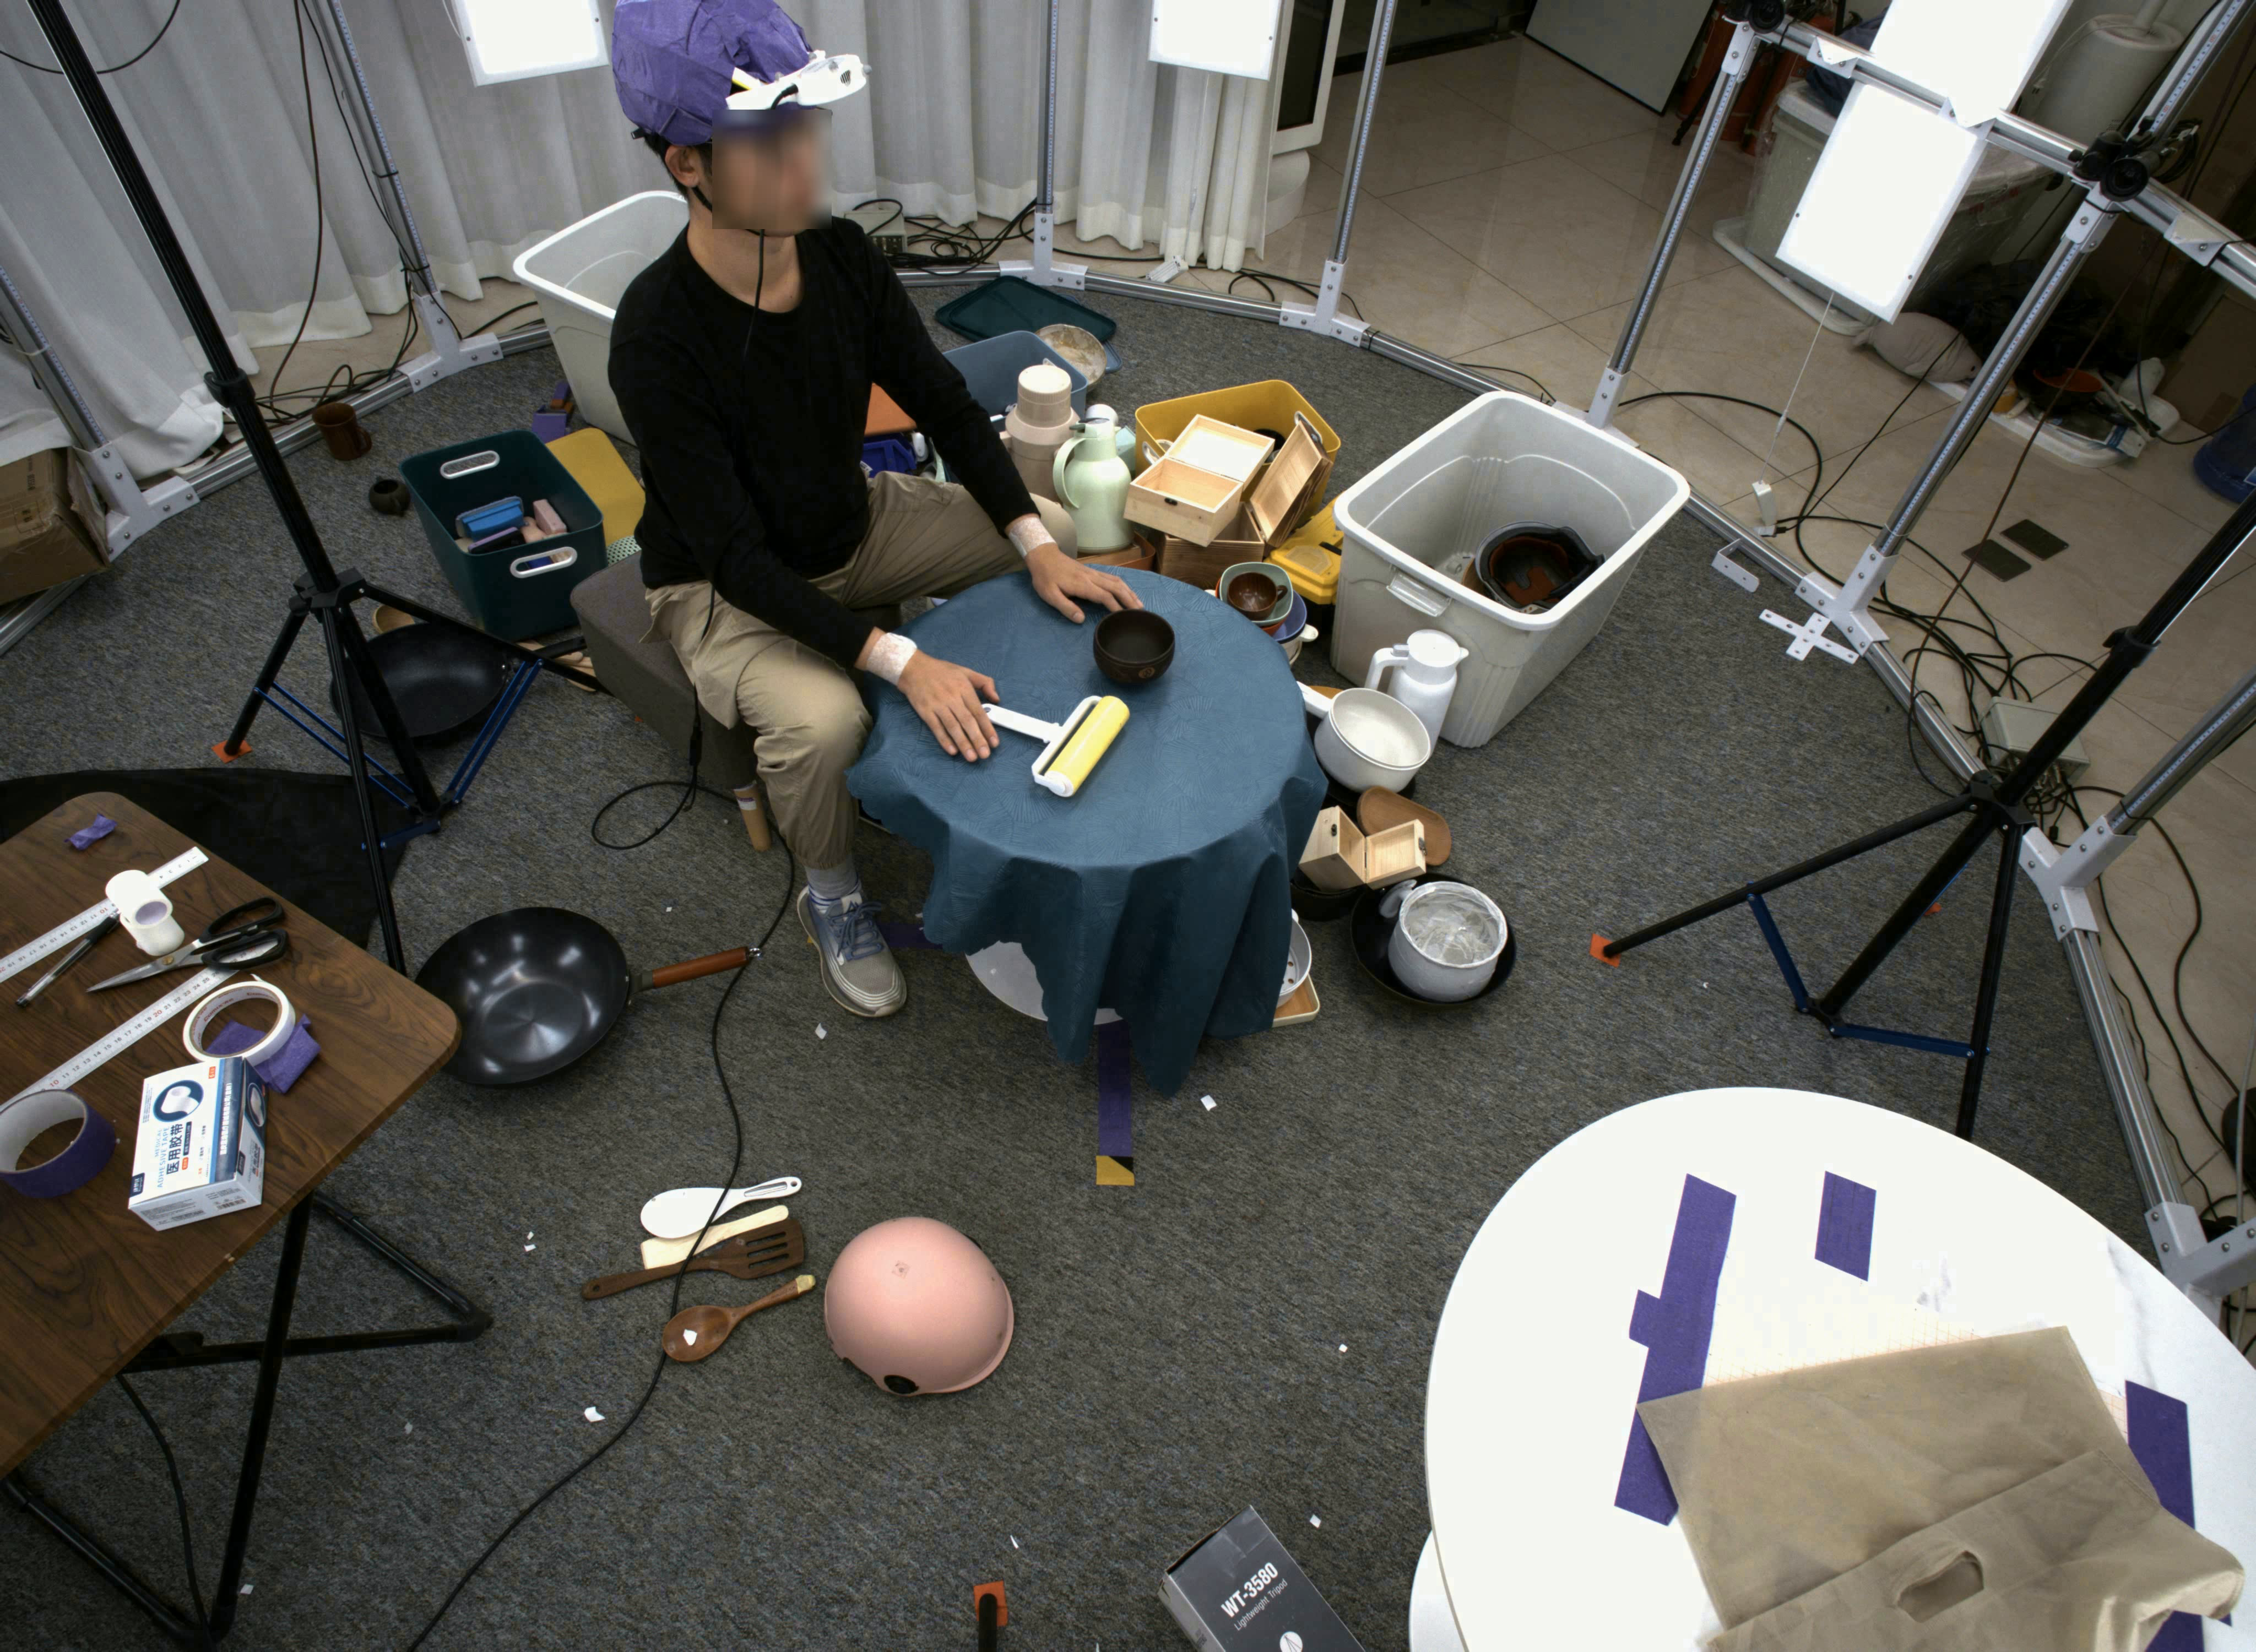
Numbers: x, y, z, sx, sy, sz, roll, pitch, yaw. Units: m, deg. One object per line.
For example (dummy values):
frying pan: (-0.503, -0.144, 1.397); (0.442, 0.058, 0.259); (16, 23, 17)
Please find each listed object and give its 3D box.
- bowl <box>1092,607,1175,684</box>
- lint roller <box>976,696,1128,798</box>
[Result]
bowl: (0.006, -0.251, 1.839); (0.118, 0.068, 0.121); (3, 50, -3)
lint roller: (-0.120, -0.136, 1.746); (0.193, 0.050, 0.177); (24, 52, 11)
